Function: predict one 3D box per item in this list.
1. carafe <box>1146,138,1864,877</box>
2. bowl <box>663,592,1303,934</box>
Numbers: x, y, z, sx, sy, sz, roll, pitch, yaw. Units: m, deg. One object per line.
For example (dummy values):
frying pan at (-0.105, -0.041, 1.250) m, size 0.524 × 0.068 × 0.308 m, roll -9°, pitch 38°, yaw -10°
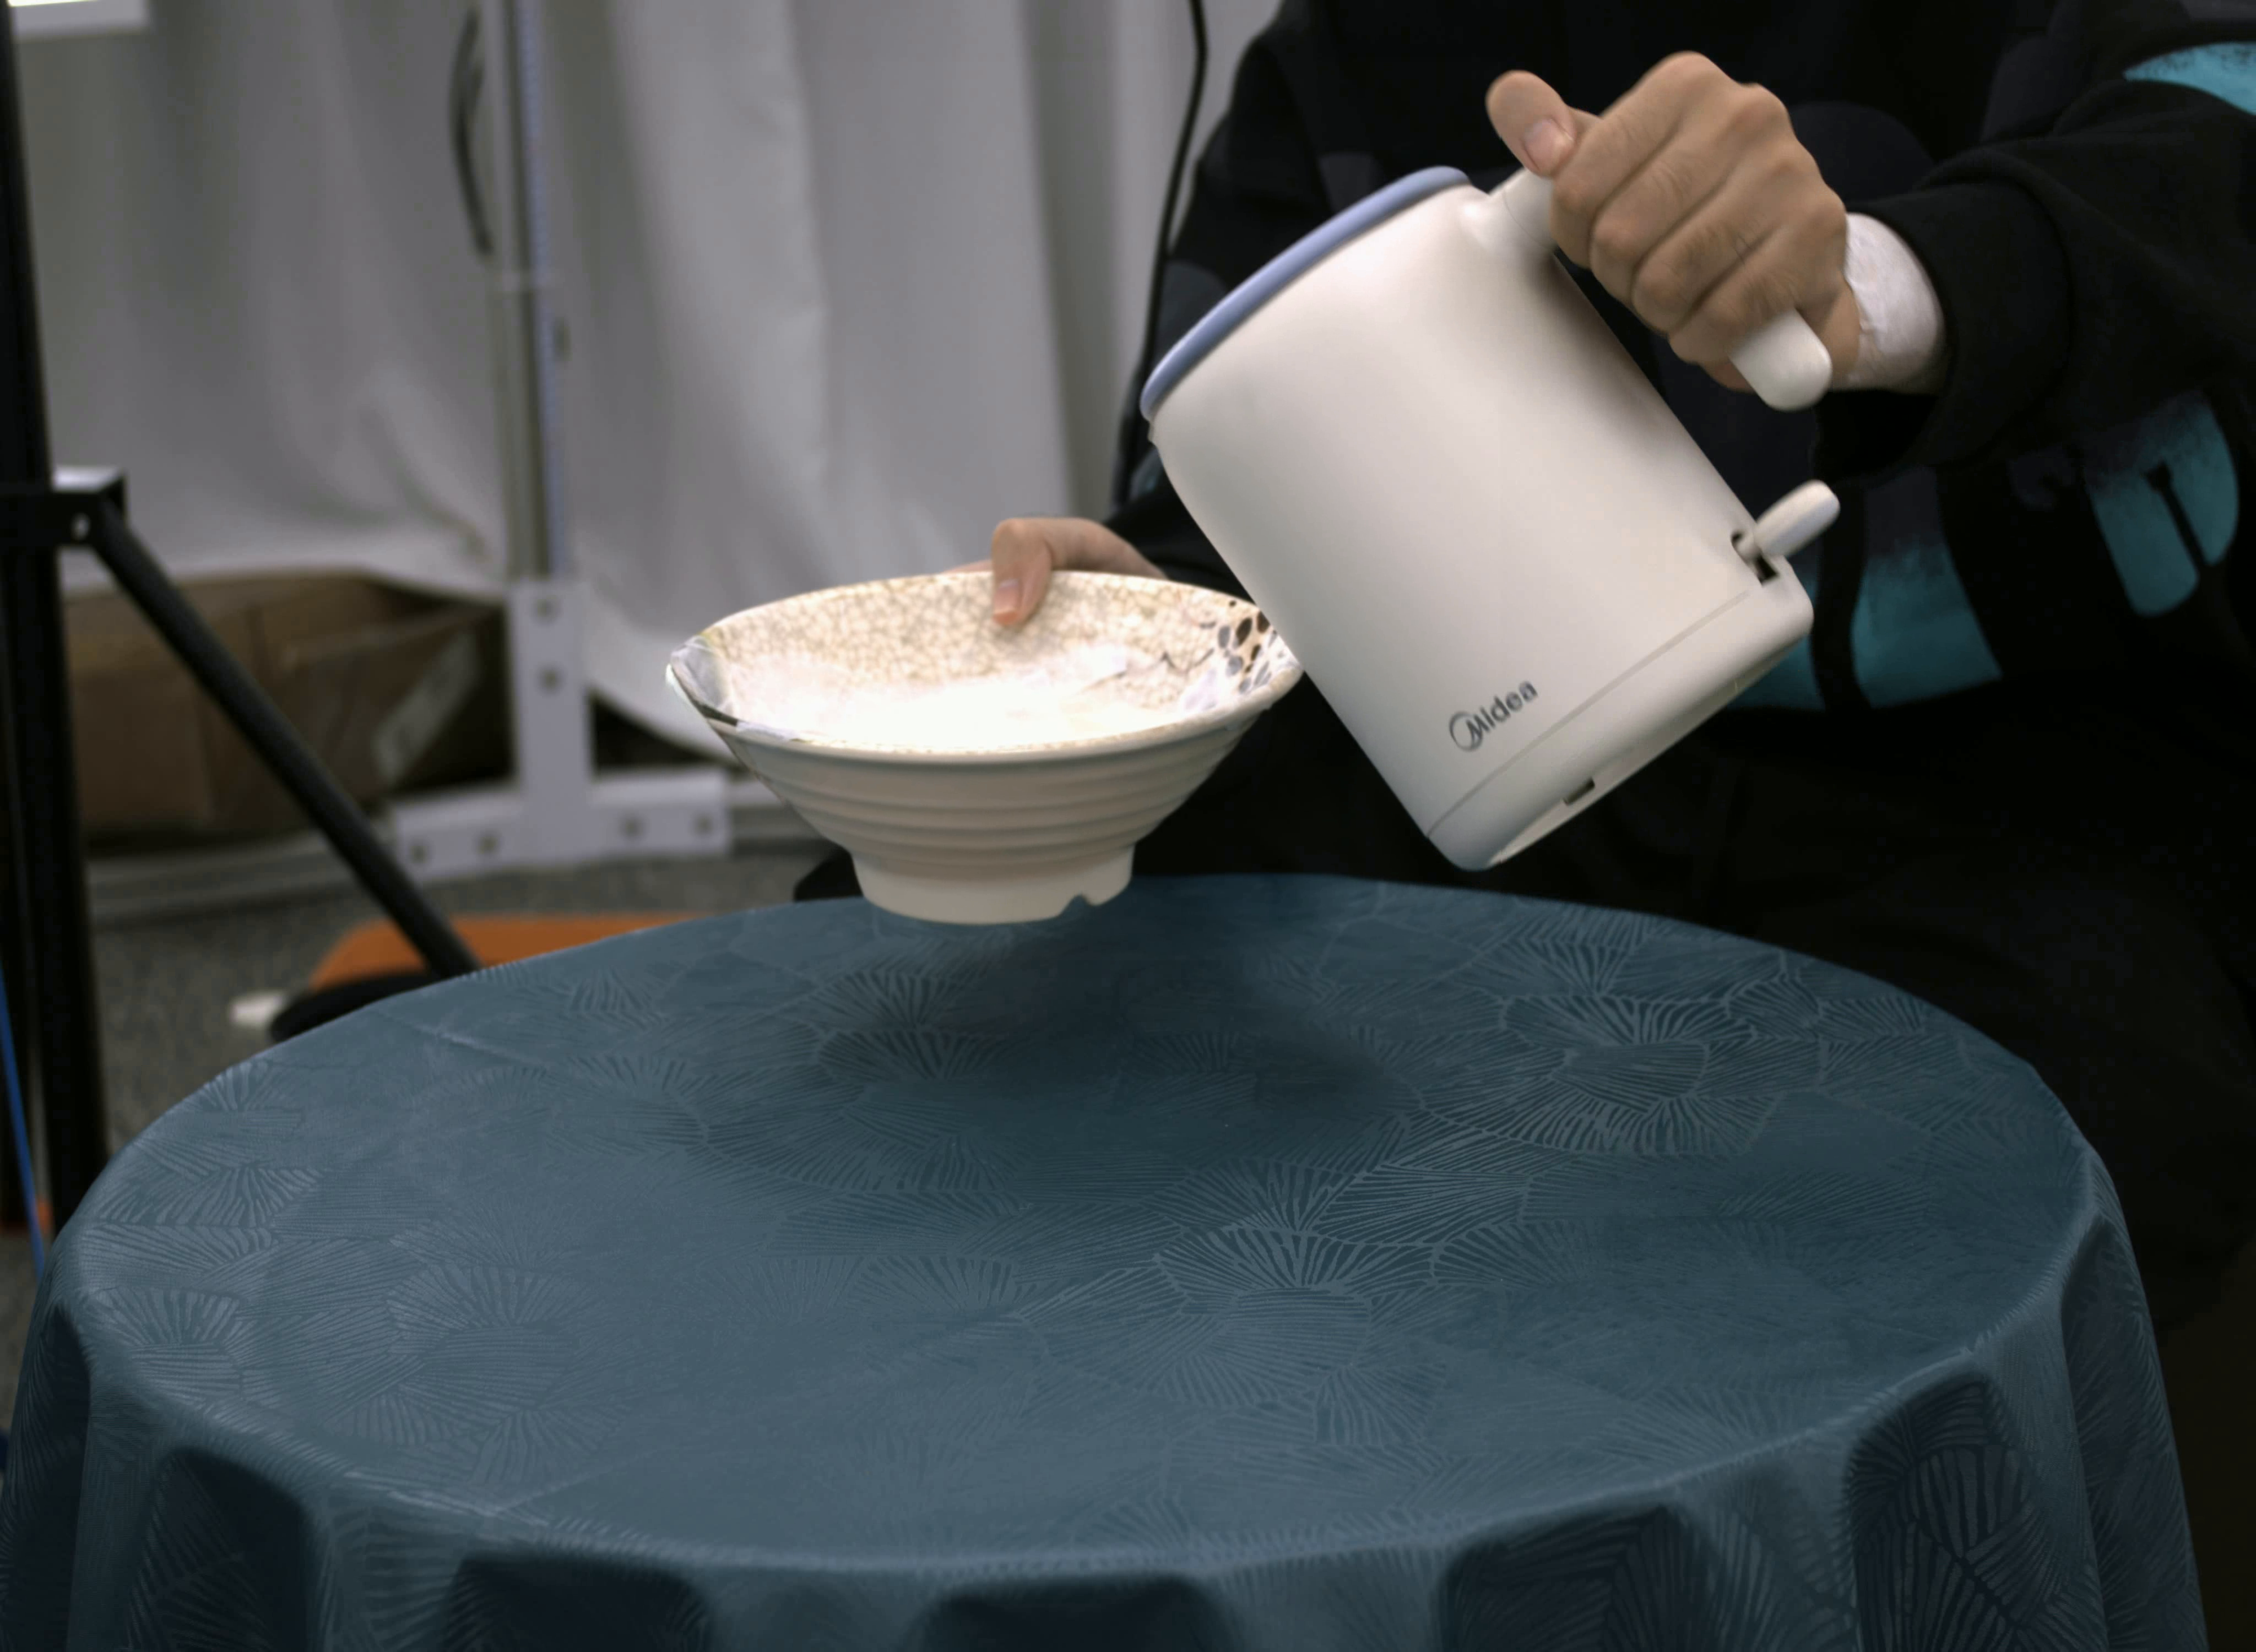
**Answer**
carafe at (0.119, -0.101, 1.535) m, size 0.193 × 0.183 × 0.130 m, roll -36°, pitch -5°, yaw 30°
bowl at (-0.047, -0.015, 1.697) m, size 0.203 × 0.078 × 0.205 m, roll 0°, pitch 15°, yaw -1°
